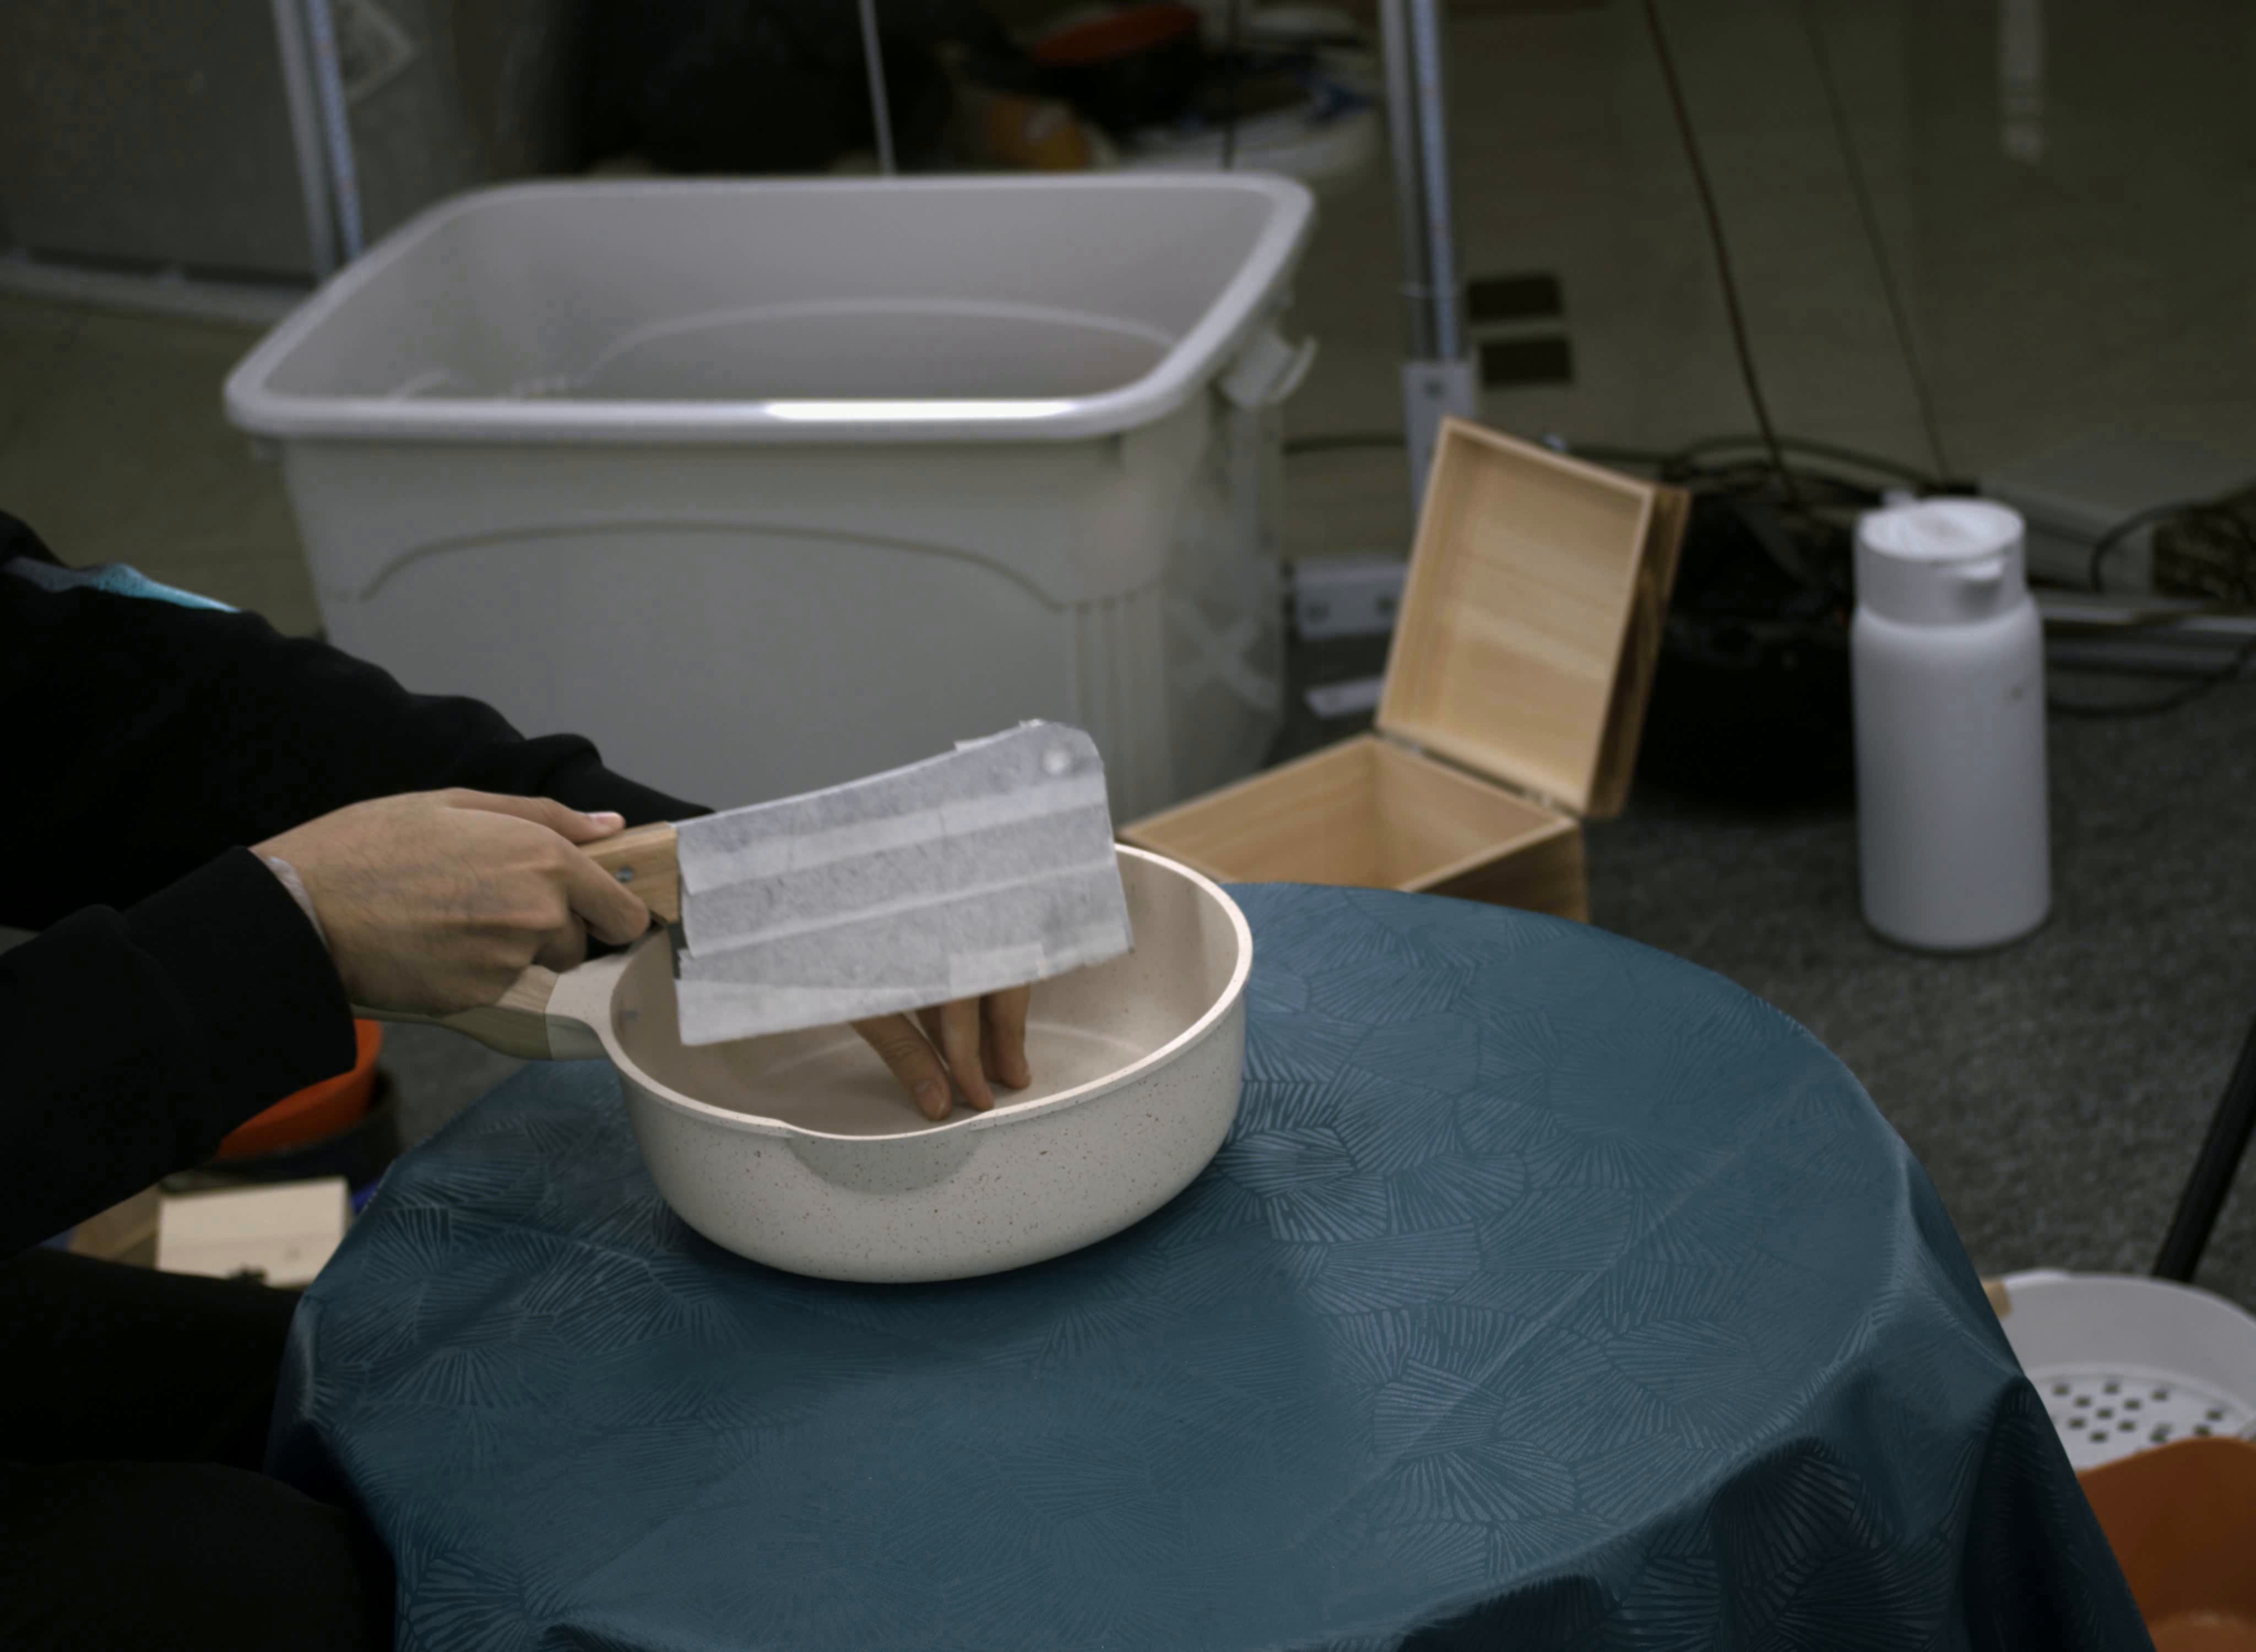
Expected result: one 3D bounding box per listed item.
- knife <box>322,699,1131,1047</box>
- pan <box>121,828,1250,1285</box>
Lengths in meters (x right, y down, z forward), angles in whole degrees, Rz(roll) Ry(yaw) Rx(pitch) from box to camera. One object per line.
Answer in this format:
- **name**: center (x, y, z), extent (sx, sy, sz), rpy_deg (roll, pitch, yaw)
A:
- **knife**: center (-0.146, 0.024, 2.105), extent (0.314, 0.115, 0.021), rpy_deg (-9, 16, -22)
- **pan**: center (-0.166, 0.089, 2.177), extent (0.434, 0.104, 0.259), rpy_deg (-3, 28, 7)
